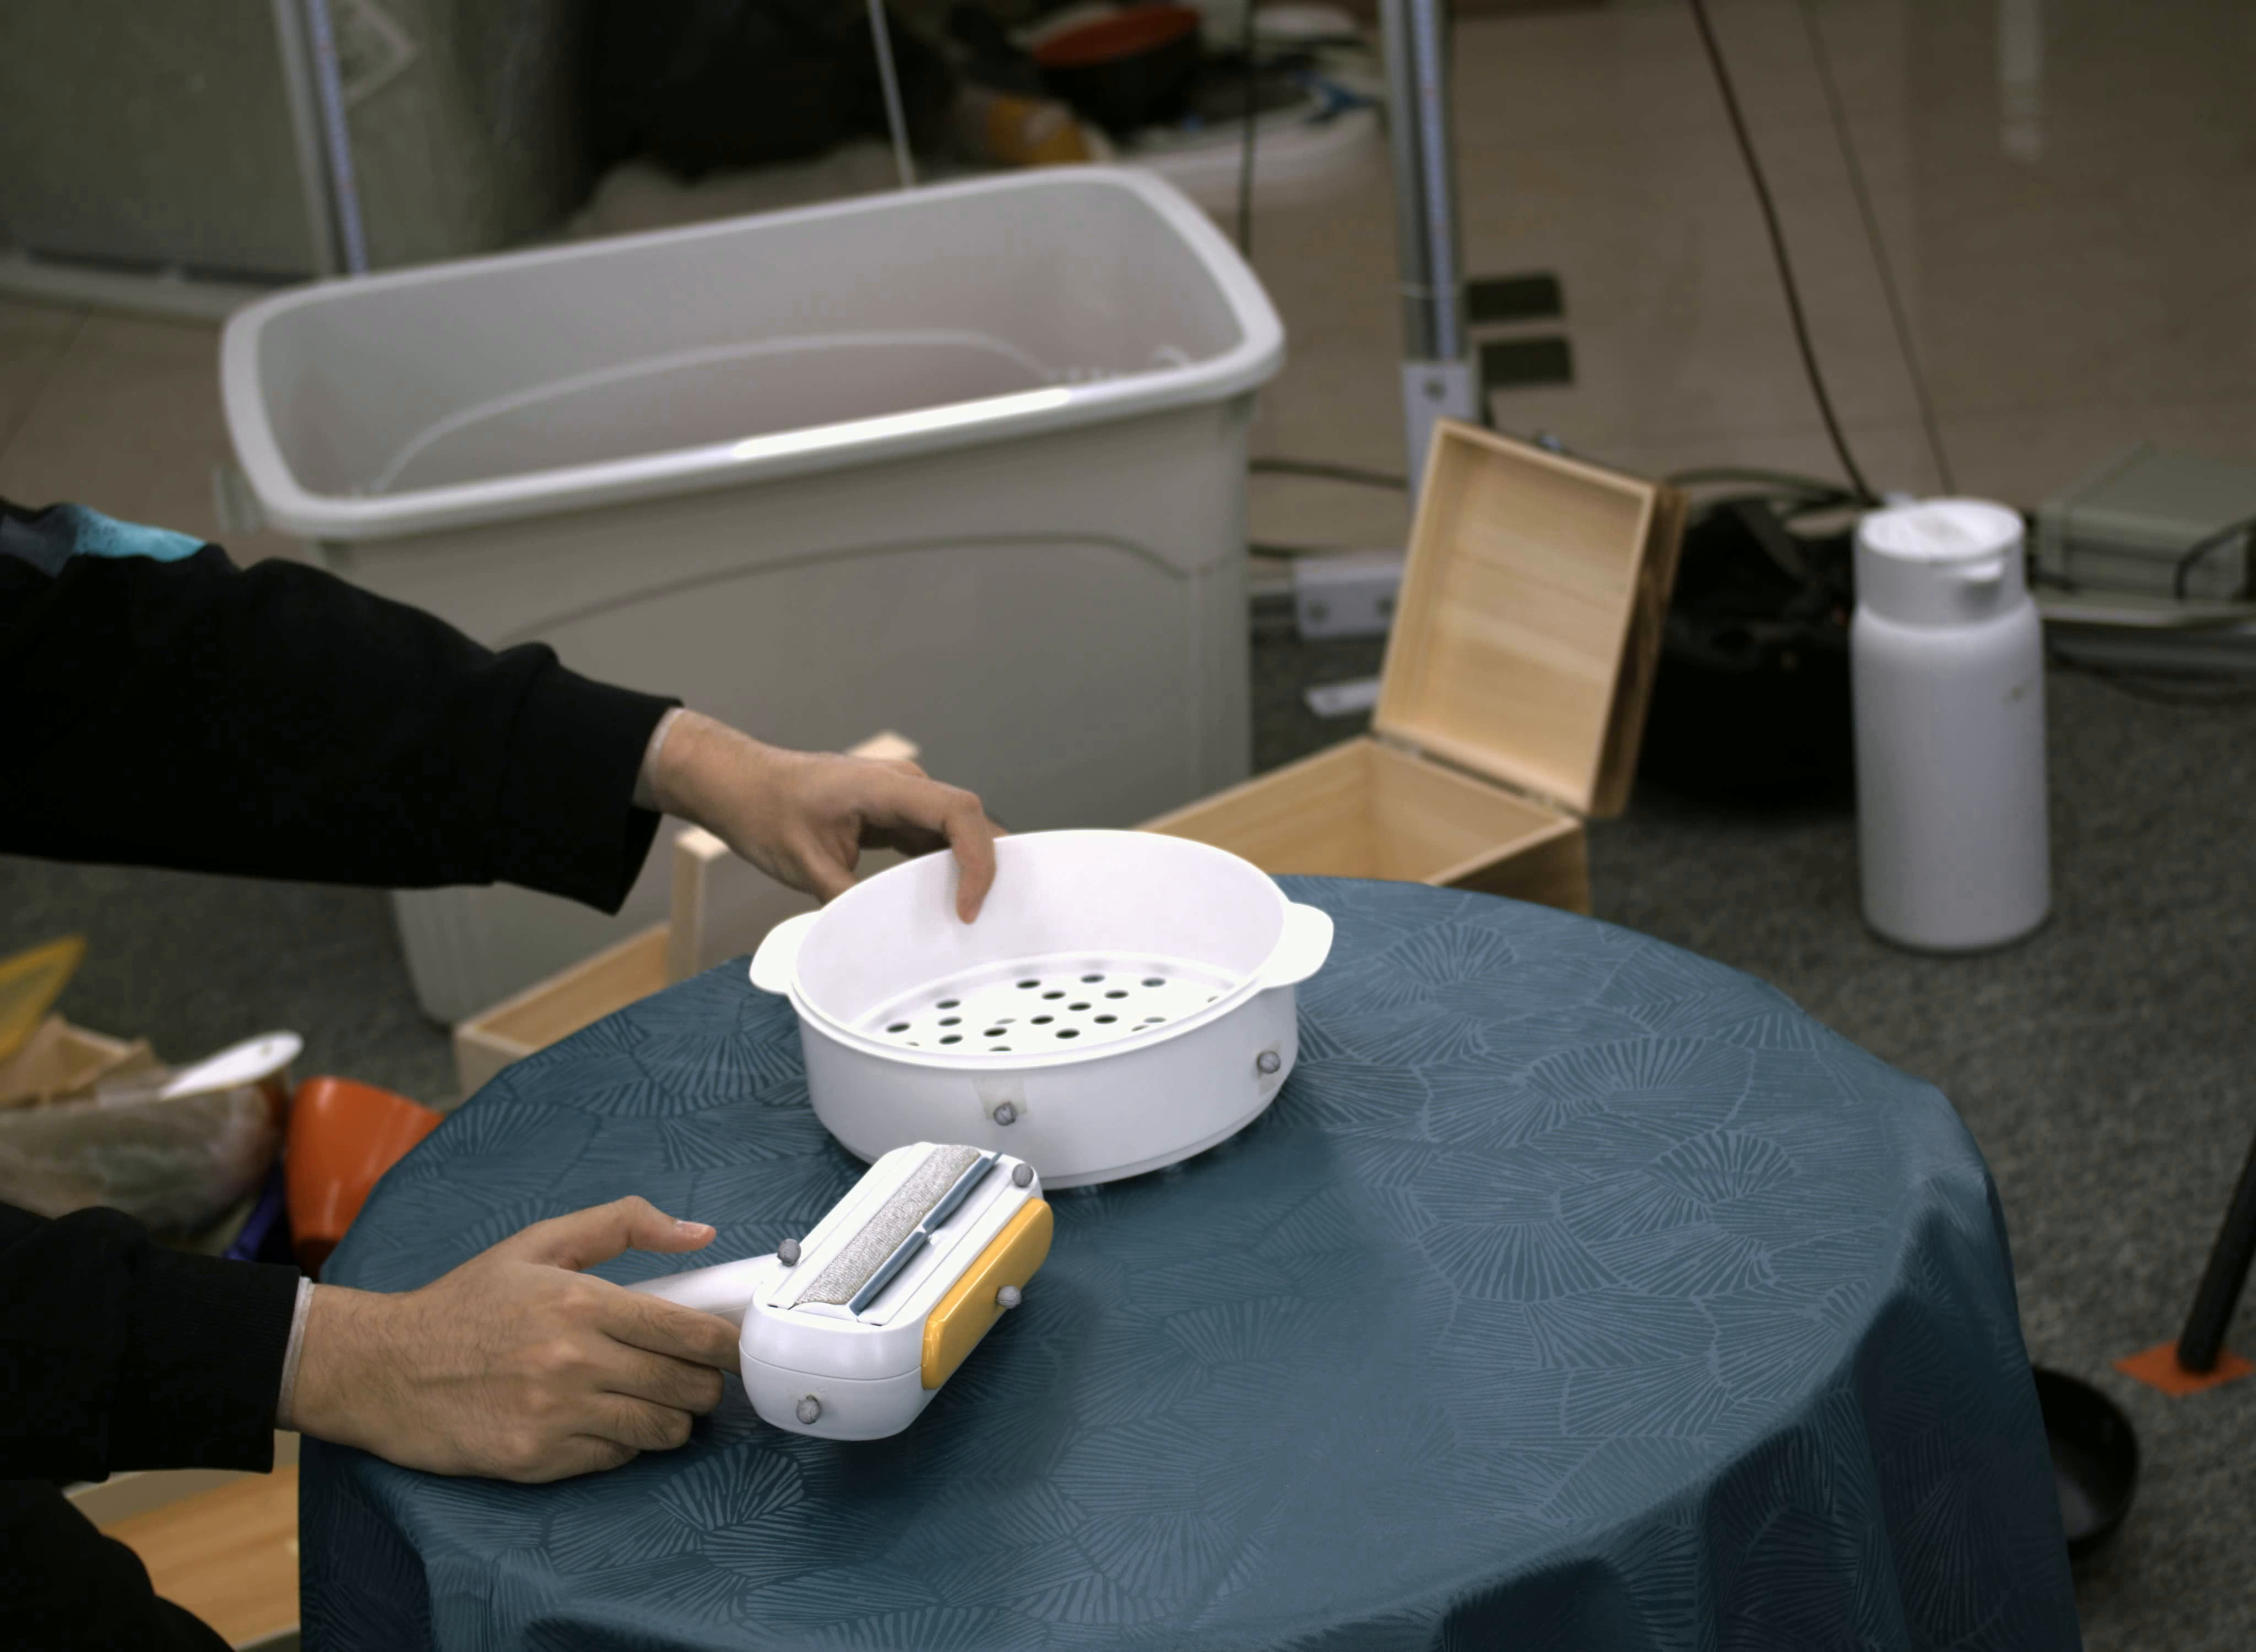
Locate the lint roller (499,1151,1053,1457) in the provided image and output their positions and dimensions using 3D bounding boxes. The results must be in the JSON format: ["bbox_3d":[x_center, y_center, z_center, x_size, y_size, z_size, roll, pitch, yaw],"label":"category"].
[{"bbox_3d":[-0.138,0.171,2.028,0.192,0.075,0.190,1,21,20],"label":"lint roller"}]

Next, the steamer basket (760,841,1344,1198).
[{"bbox_3d":[-0.026,0.076,2.212,0.230,0.070,0.199,-4,24,13],"label":"steamer basket"}]
